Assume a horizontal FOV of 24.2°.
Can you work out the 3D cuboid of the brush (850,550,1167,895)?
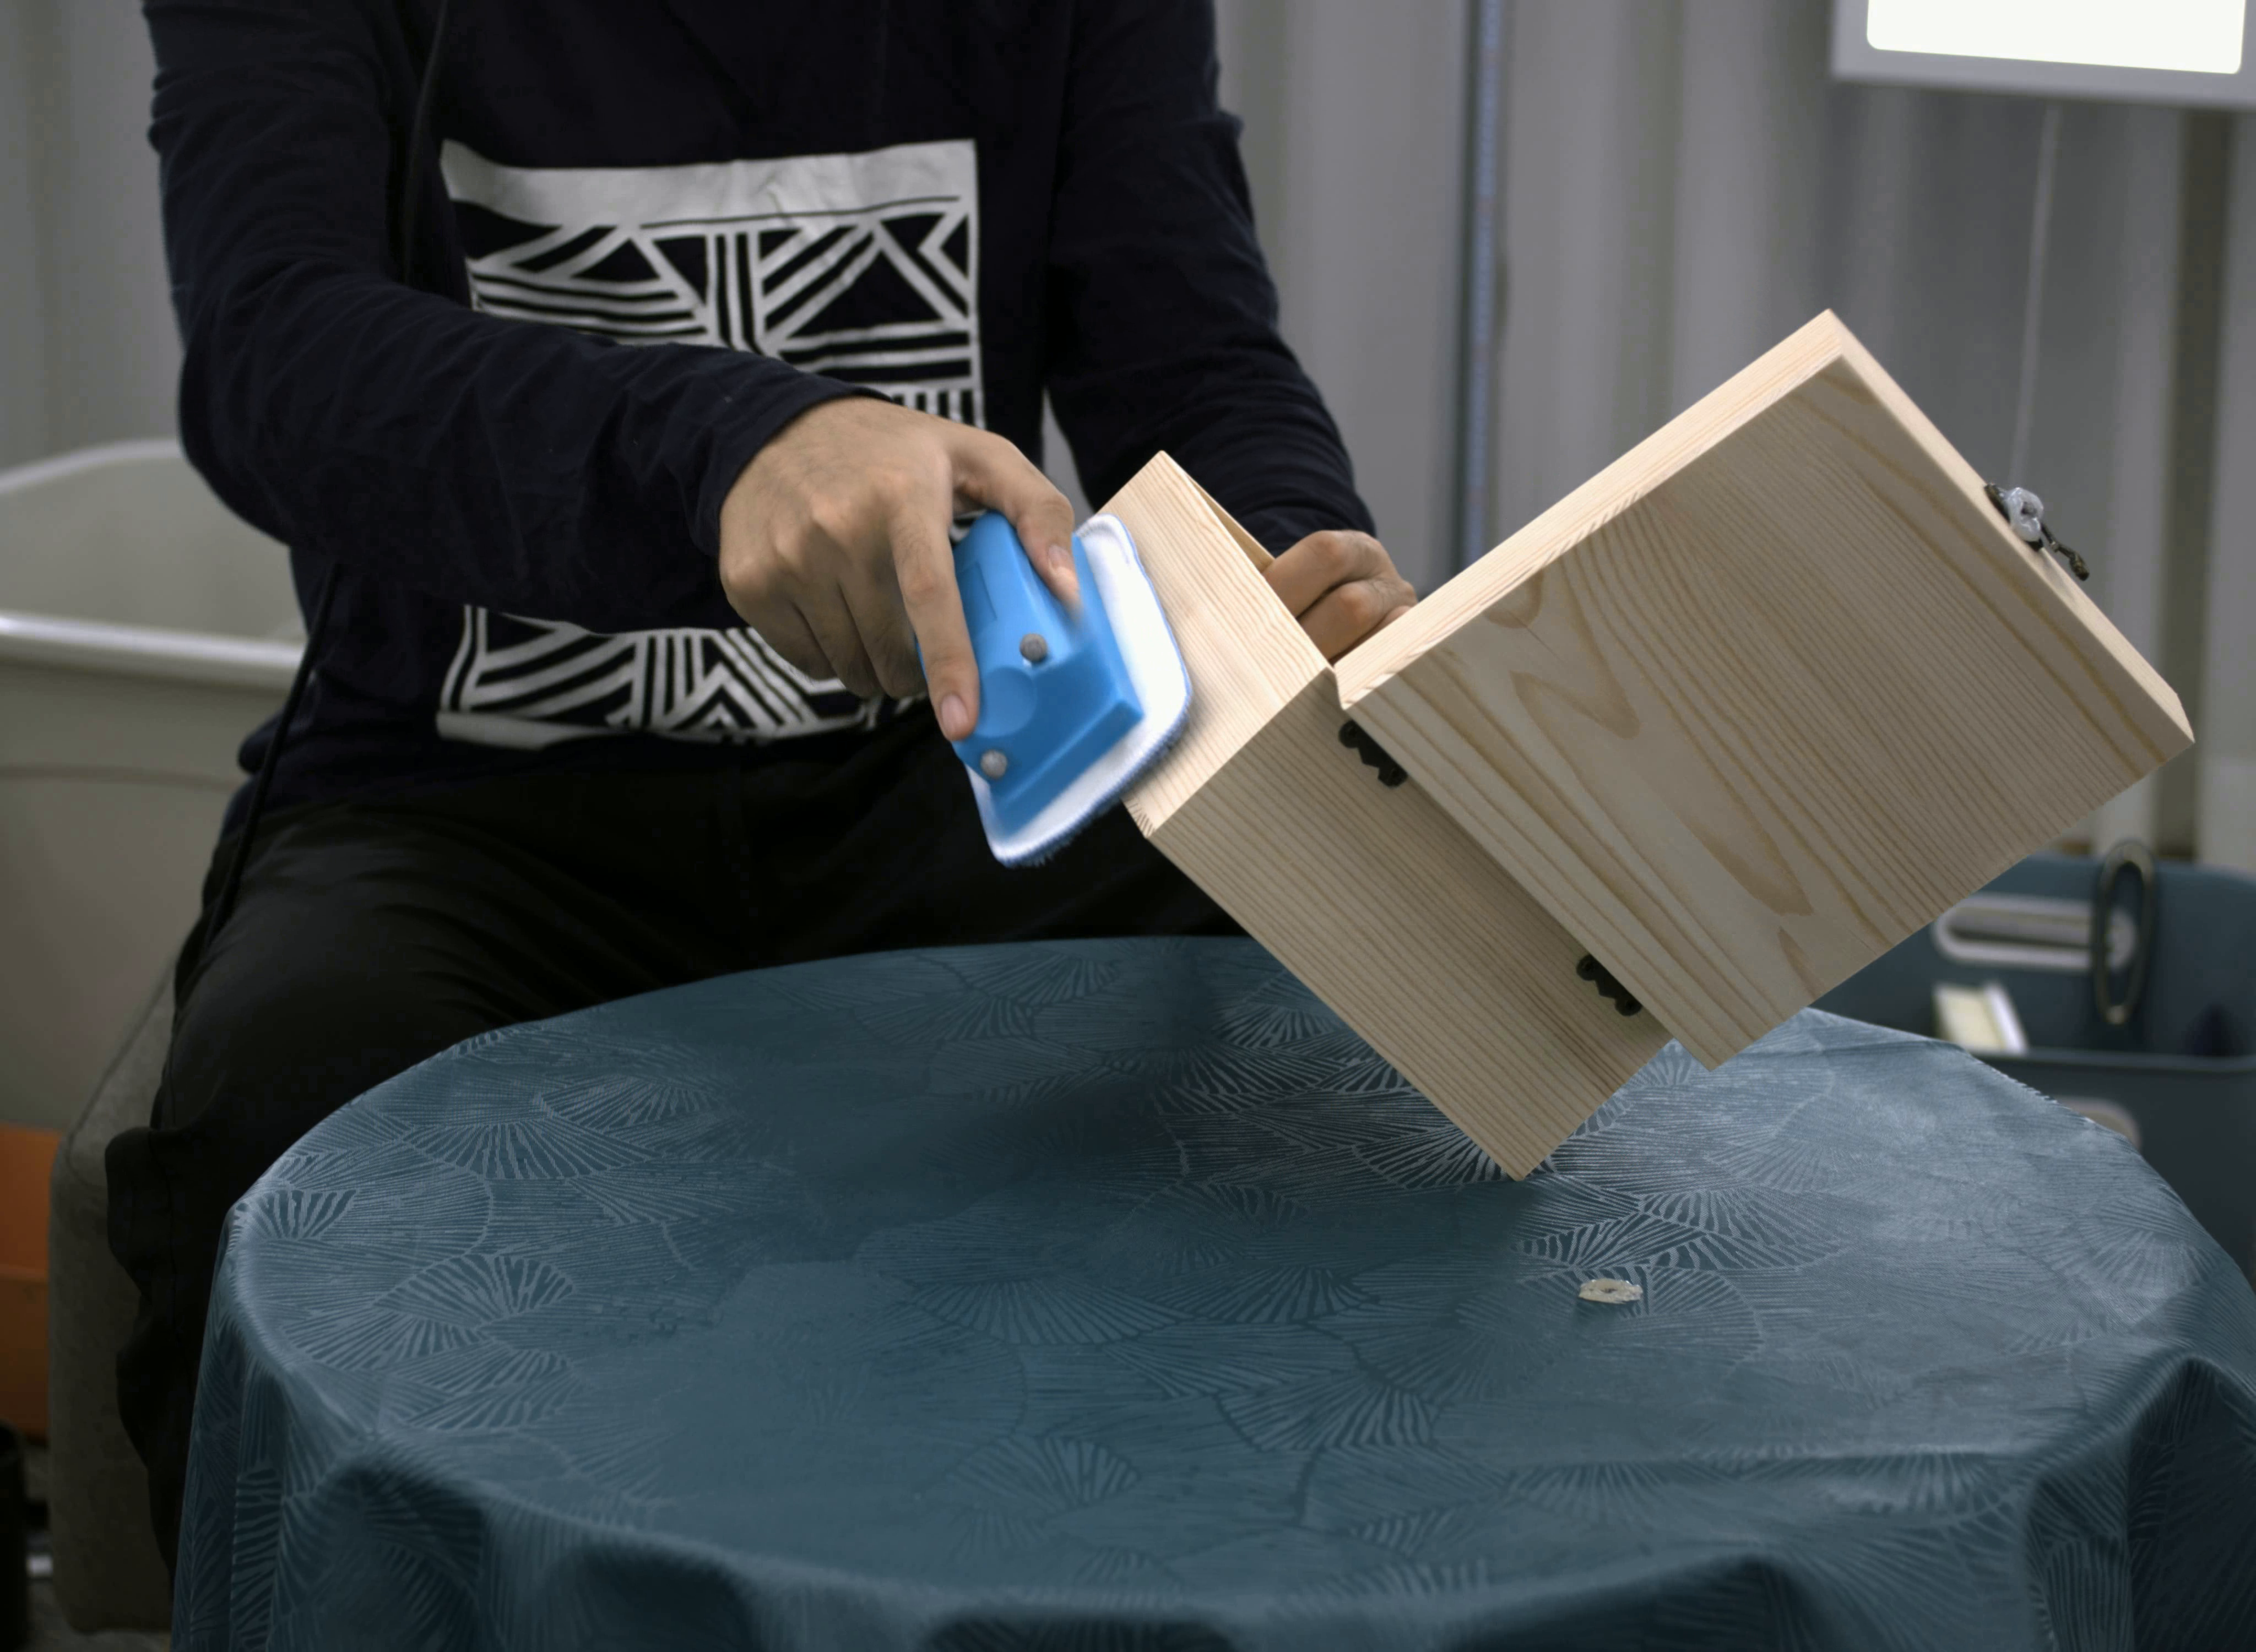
[{"bbox_3d":[-0.044,-0.038,1.617,0.084,0.056,0.142,-38,32,1],"label":"brush"}]

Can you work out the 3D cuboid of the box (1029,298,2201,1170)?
[{"bbox_3d":[0.138,-0.055,1.629,0.184,0.253,0.262,43,7,-30],"label":"box"}]
